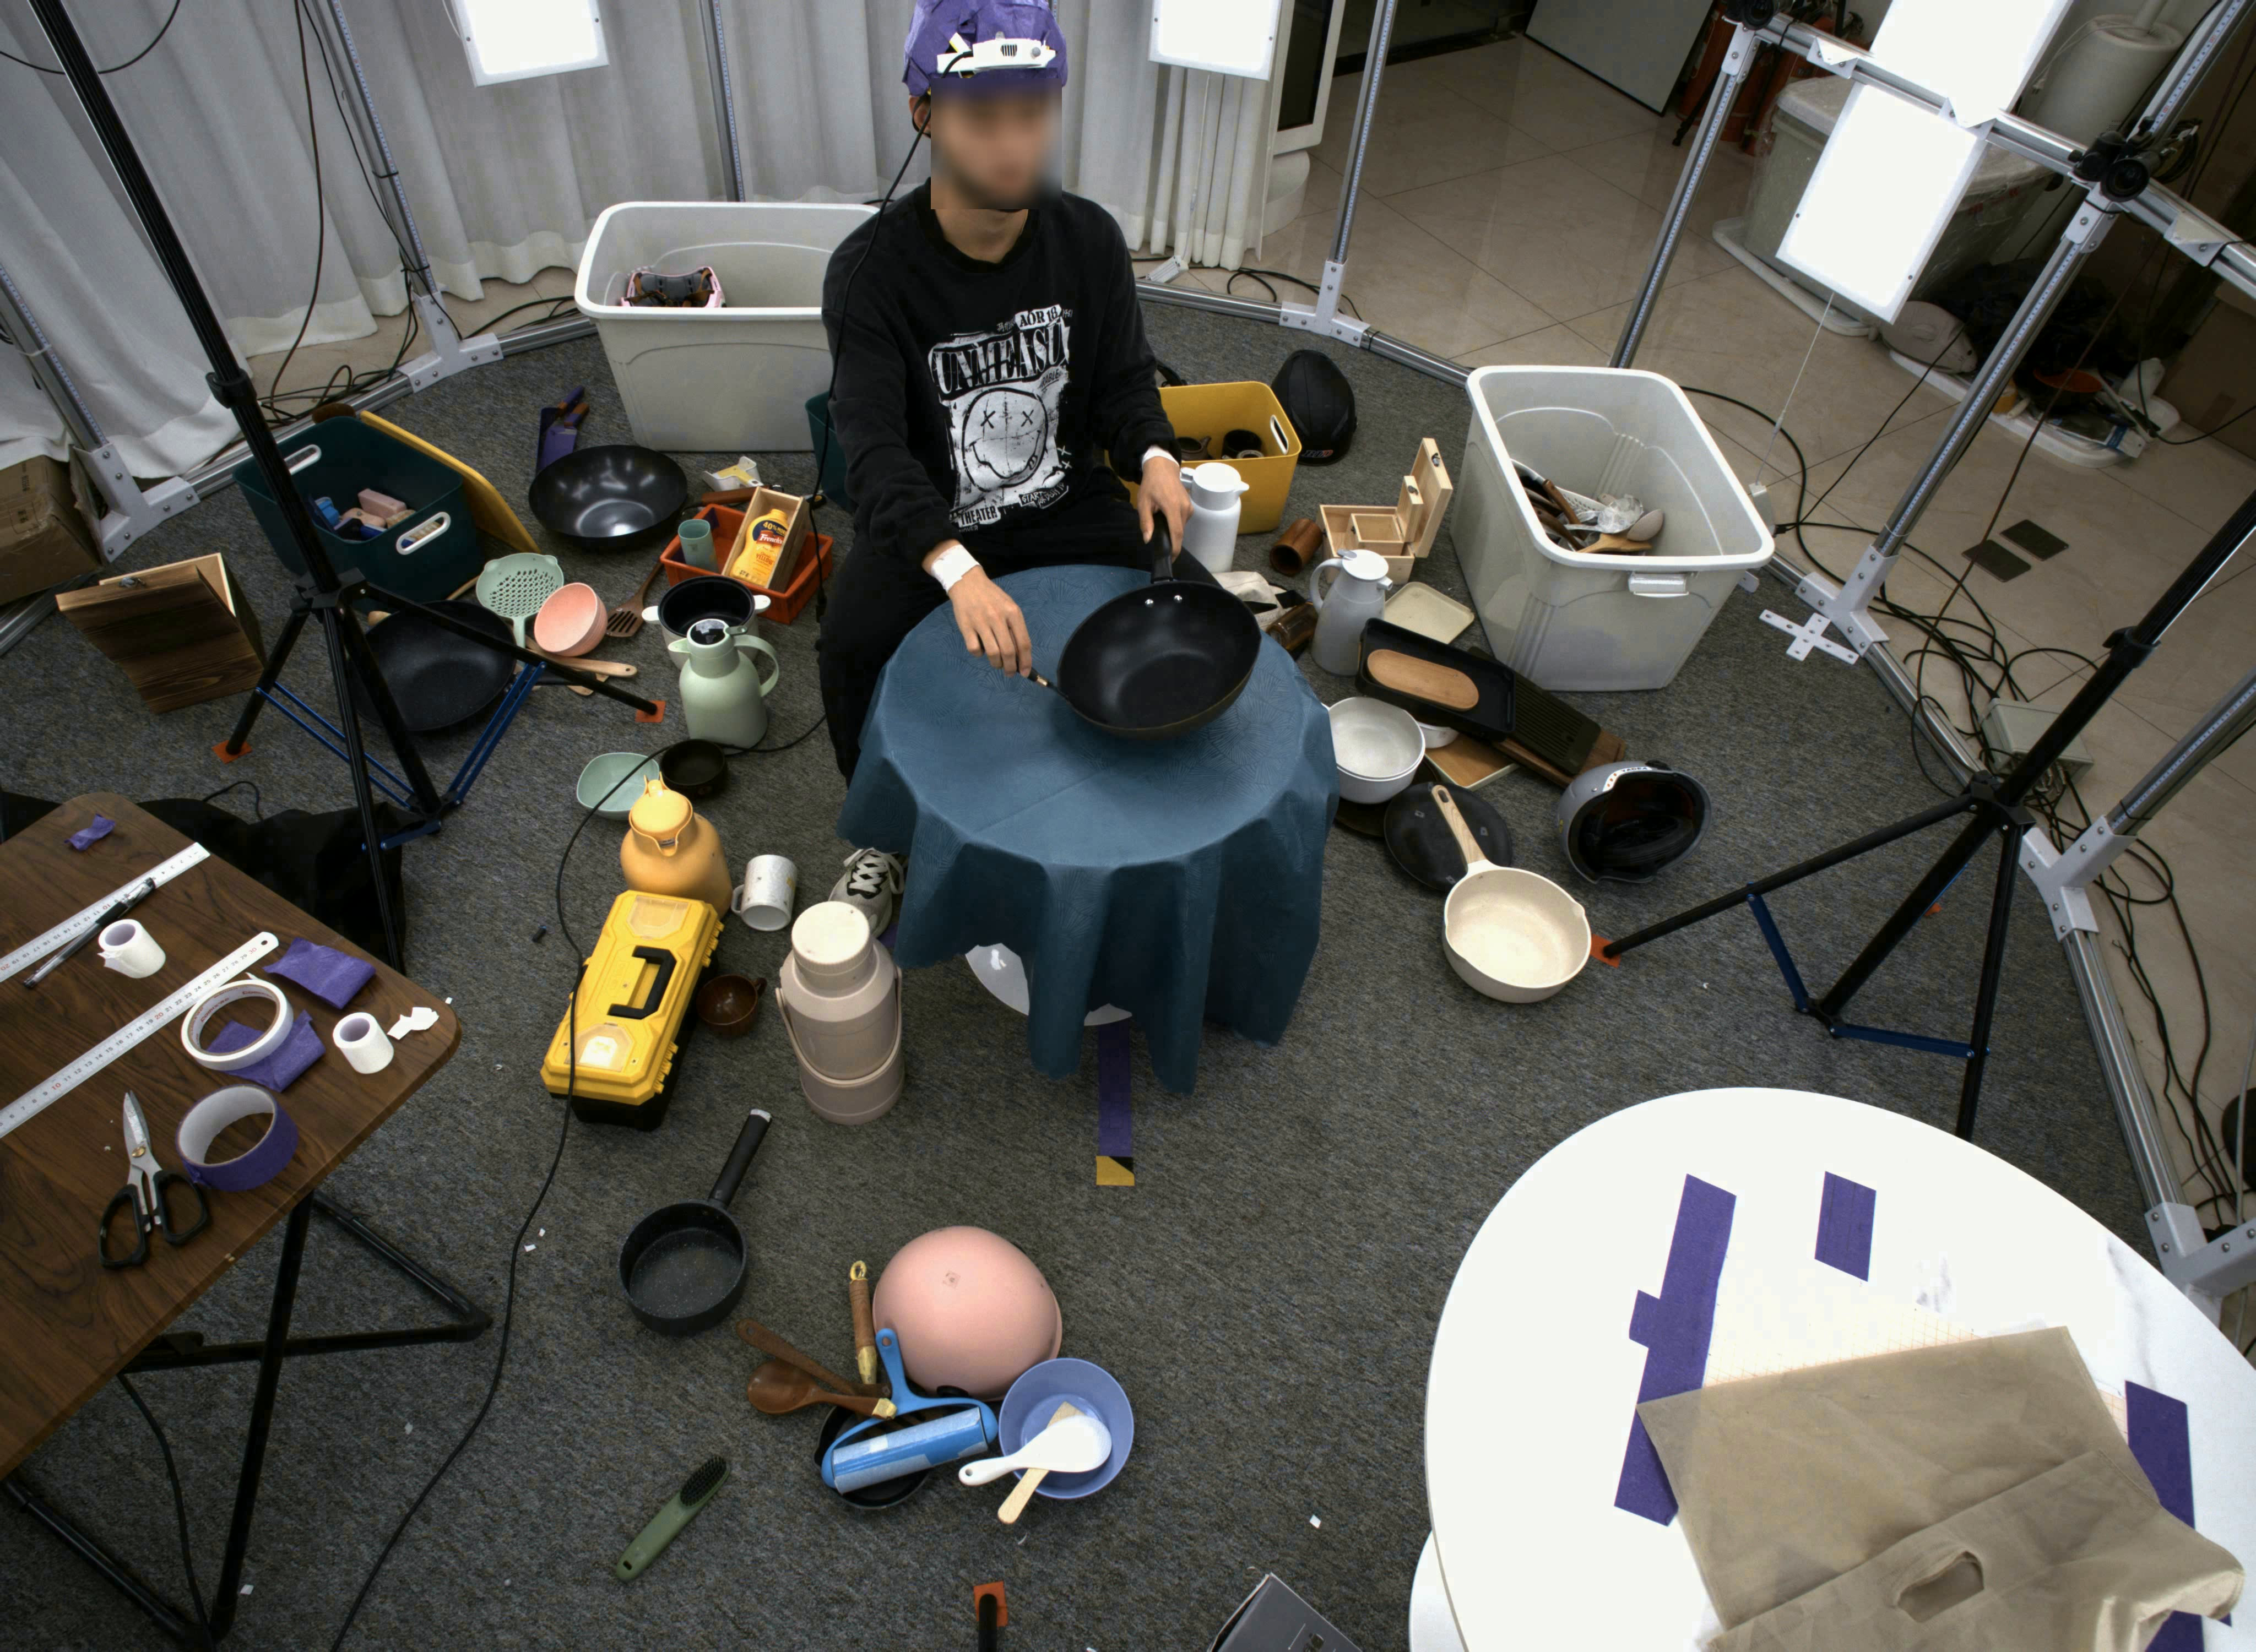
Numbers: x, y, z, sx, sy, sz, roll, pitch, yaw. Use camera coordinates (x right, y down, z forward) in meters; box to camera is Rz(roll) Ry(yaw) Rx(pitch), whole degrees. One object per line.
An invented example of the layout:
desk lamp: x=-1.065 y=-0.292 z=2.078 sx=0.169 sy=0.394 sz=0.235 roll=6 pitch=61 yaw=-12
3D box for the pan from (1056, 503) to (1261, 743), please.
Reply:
pan: x=0.052 y=-0.284 z=1.835 sx=0.288 sy=0.085 sz=0.475 roll=-8 pitch=50 yaw=14

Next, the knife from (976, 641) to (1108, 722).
knife: x=-0.111 y=-0.191 z=1.730 sx=0.222 sy=0.017 sz=0.027 roll=29 pitch=11 yaw=-28
